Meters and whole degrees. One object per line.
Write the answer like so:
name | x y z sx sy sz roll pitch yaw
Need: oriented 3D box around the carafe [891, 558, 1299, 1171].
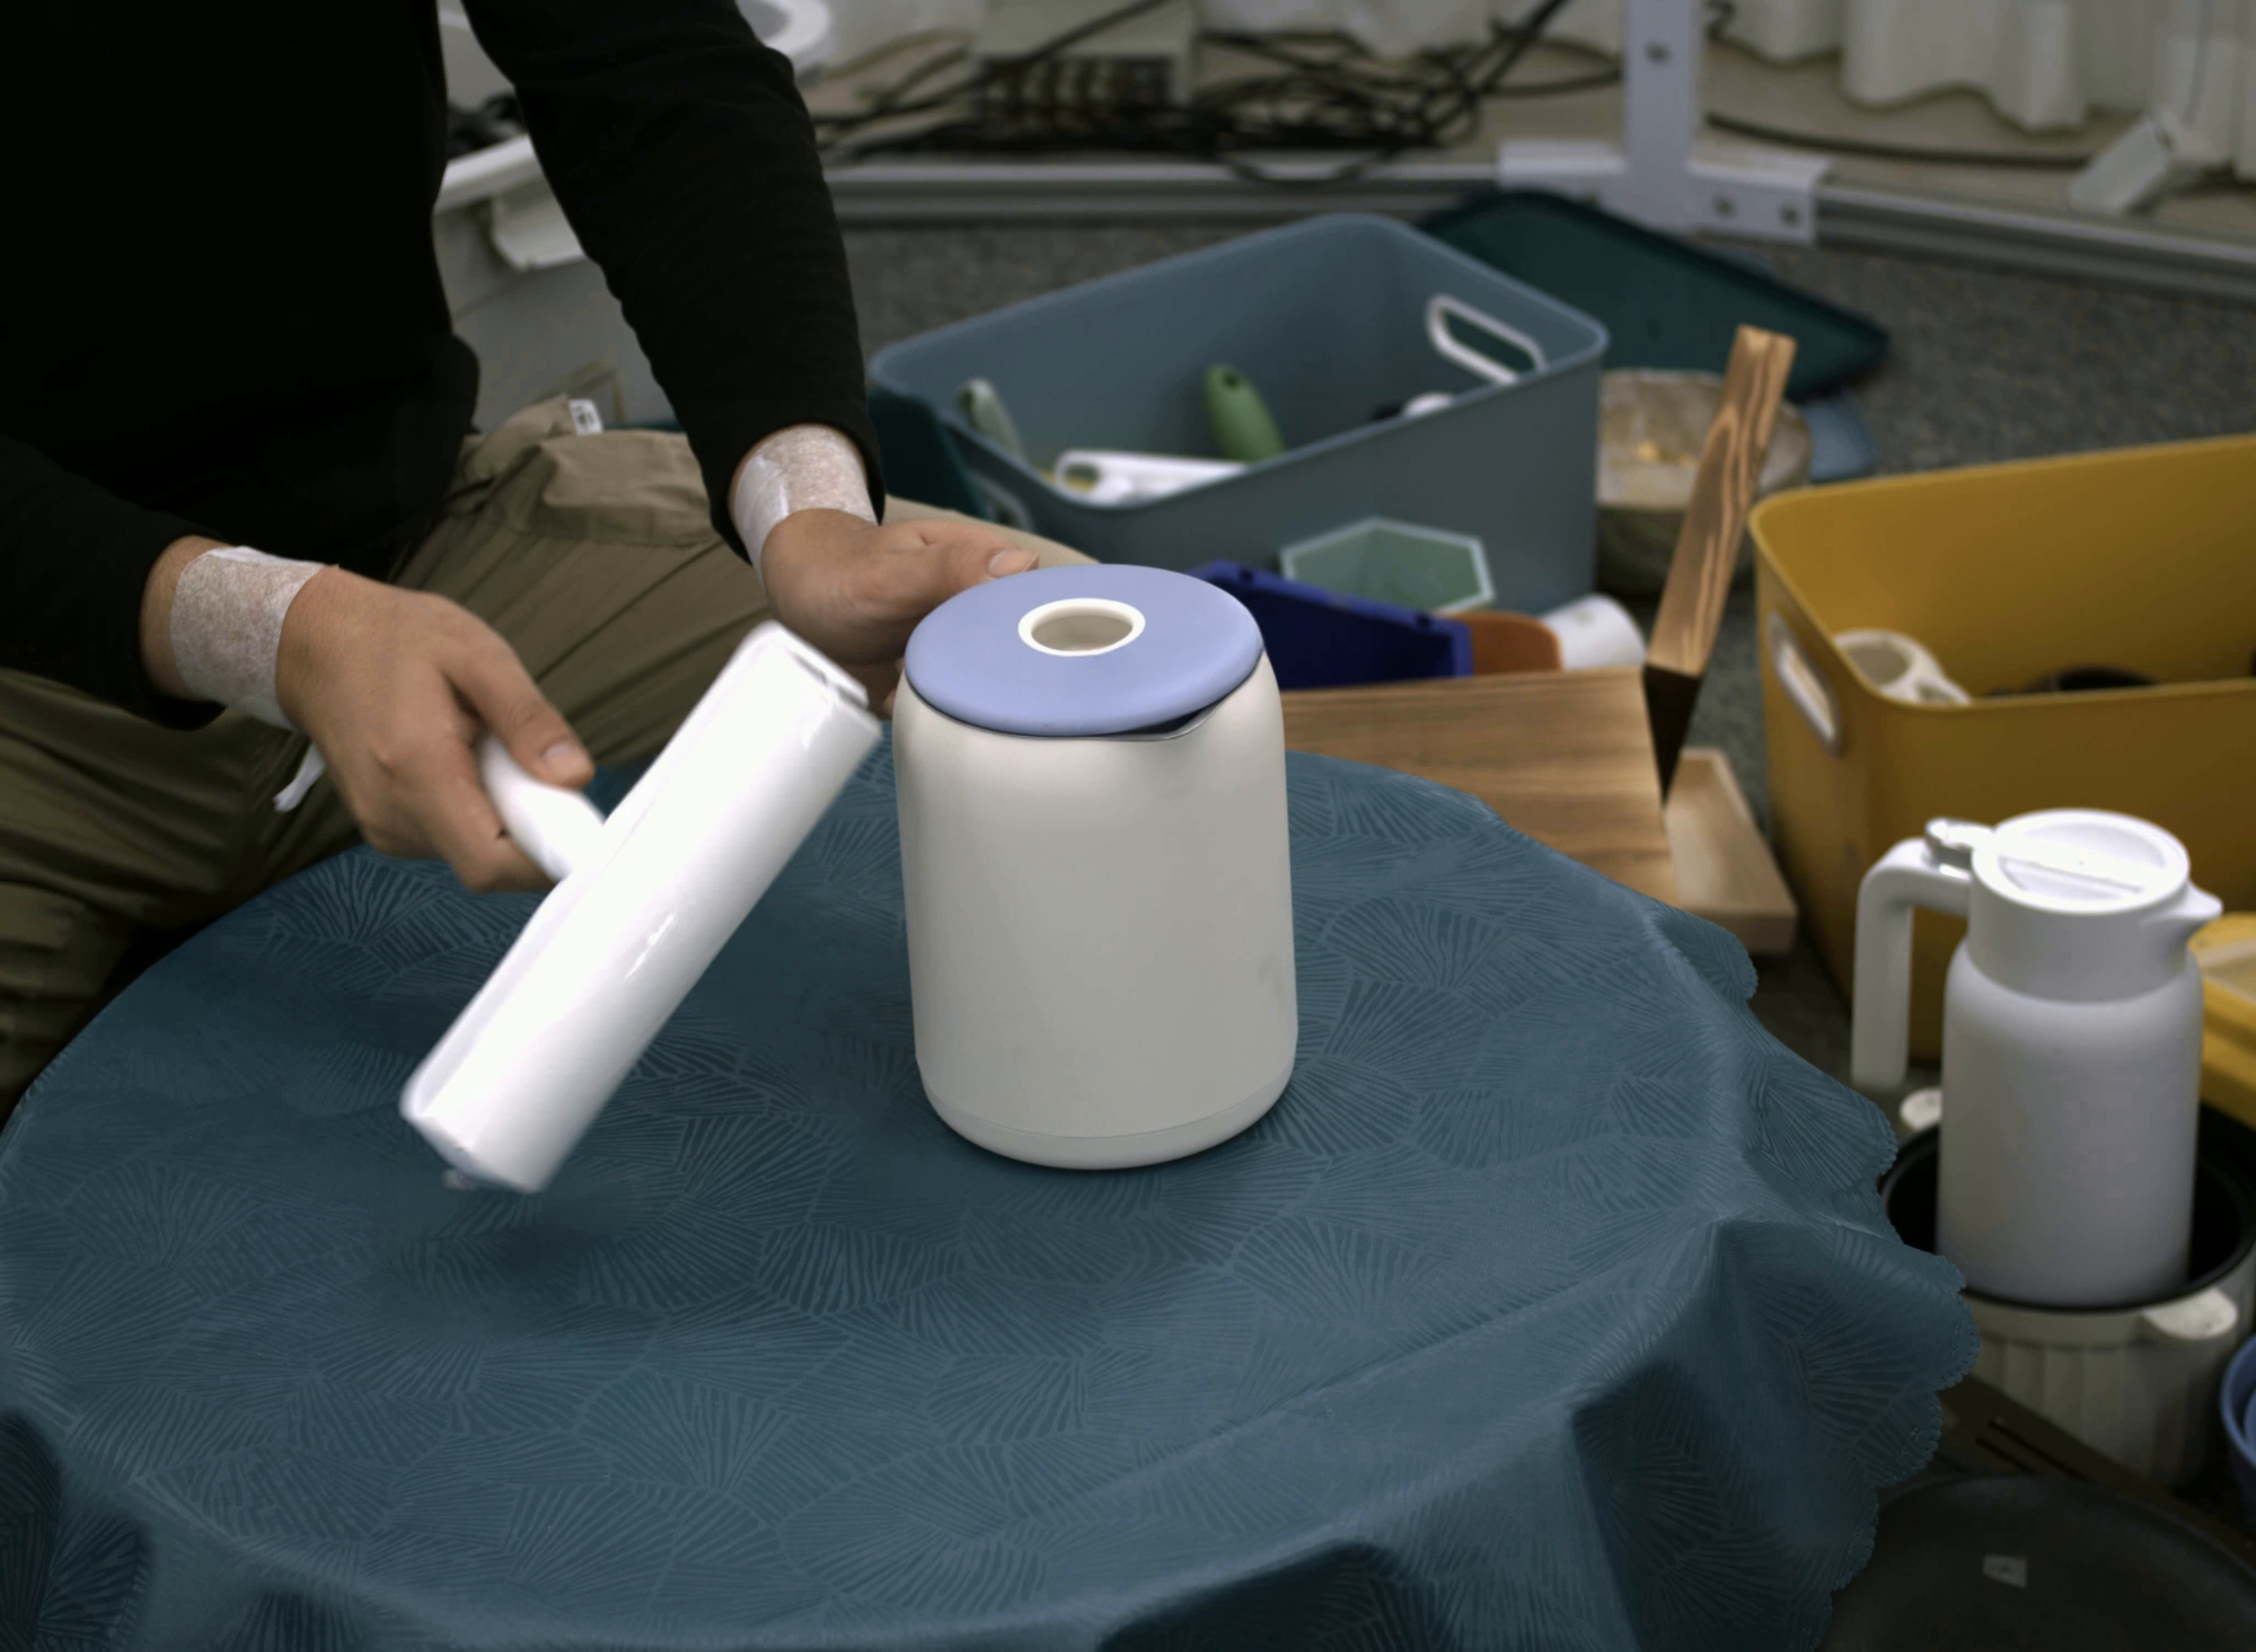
carafe | -0.022 0.003 1.908 0.133 0.181 0.192 -16 27 -25

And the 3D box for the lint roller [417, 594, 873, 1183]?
lint roller | -0.196 -0.007 1.898 0.048 0.203 0.226 33 1 -39
